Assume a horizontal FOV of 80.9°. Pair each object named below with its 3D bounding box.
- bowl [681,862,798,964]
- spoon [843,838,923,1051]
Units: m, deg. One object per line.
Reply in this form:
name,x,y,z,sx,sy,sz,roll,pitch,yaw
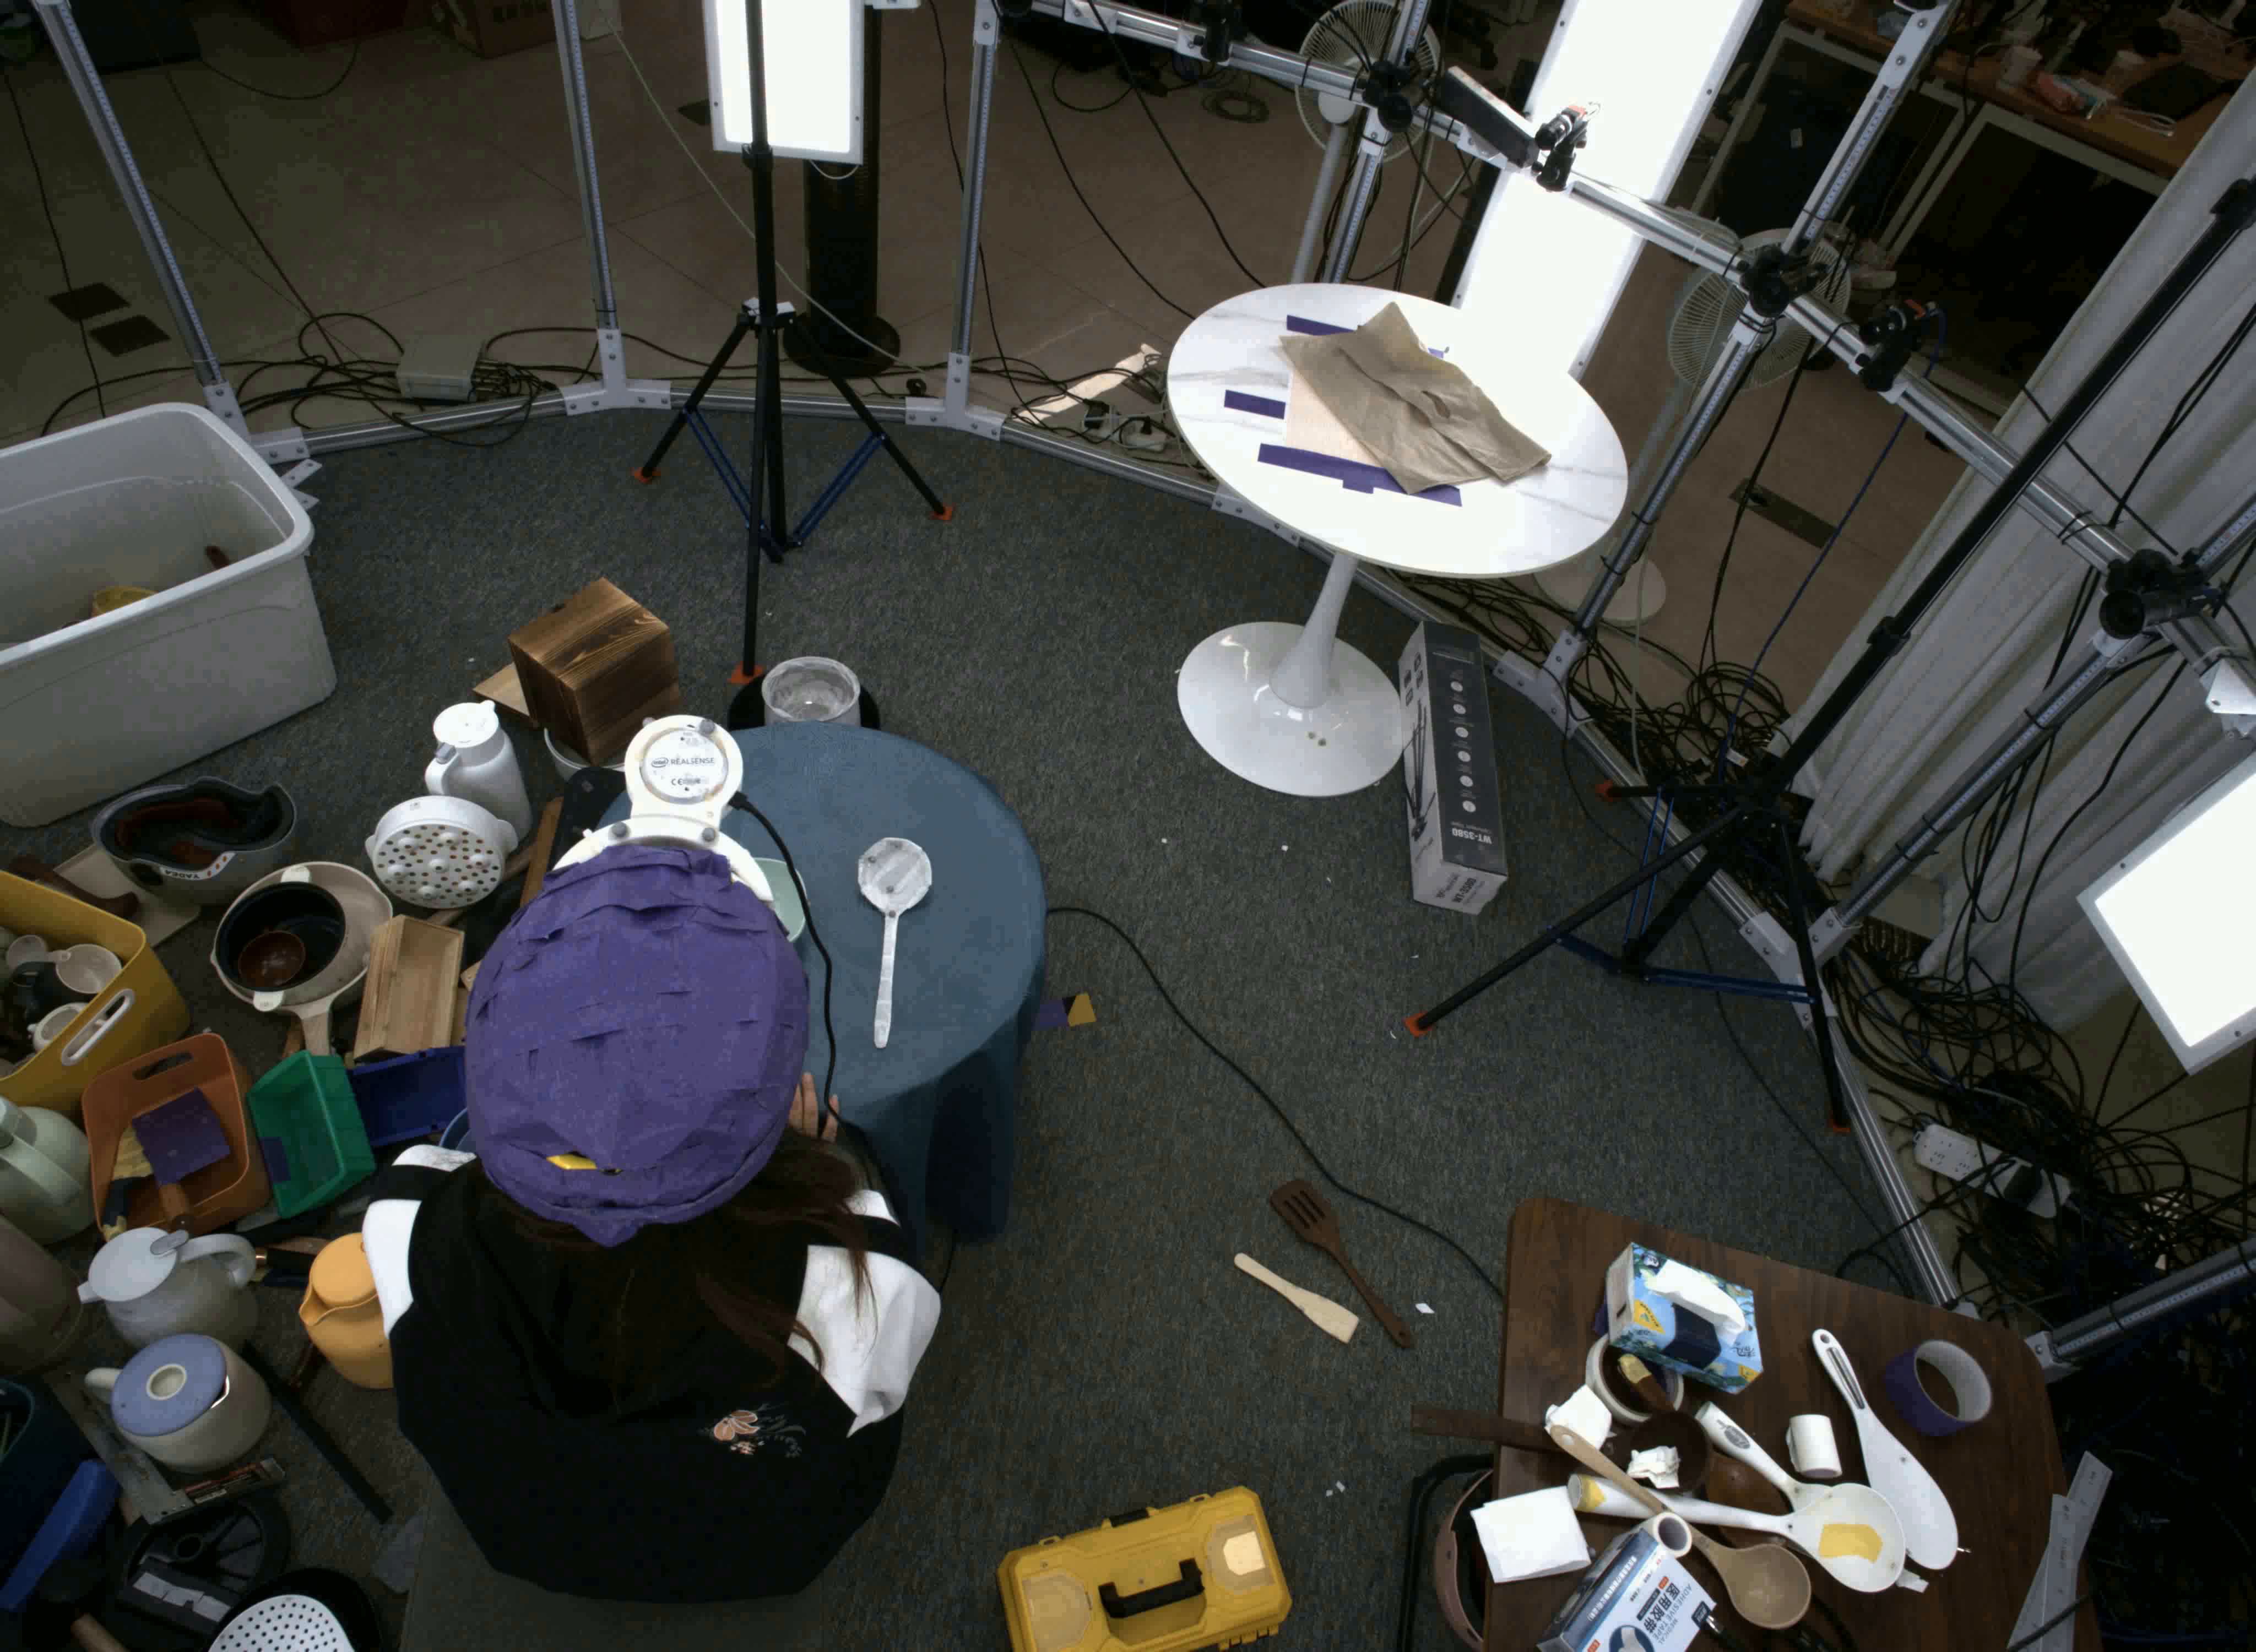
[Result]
bowl,-0.474,0.115,1.586,0.151,0.060,0.149,8,52,-9
spoon,-0.314,0.139,1.607,0.100,0.061,0.272,4,52,-5
